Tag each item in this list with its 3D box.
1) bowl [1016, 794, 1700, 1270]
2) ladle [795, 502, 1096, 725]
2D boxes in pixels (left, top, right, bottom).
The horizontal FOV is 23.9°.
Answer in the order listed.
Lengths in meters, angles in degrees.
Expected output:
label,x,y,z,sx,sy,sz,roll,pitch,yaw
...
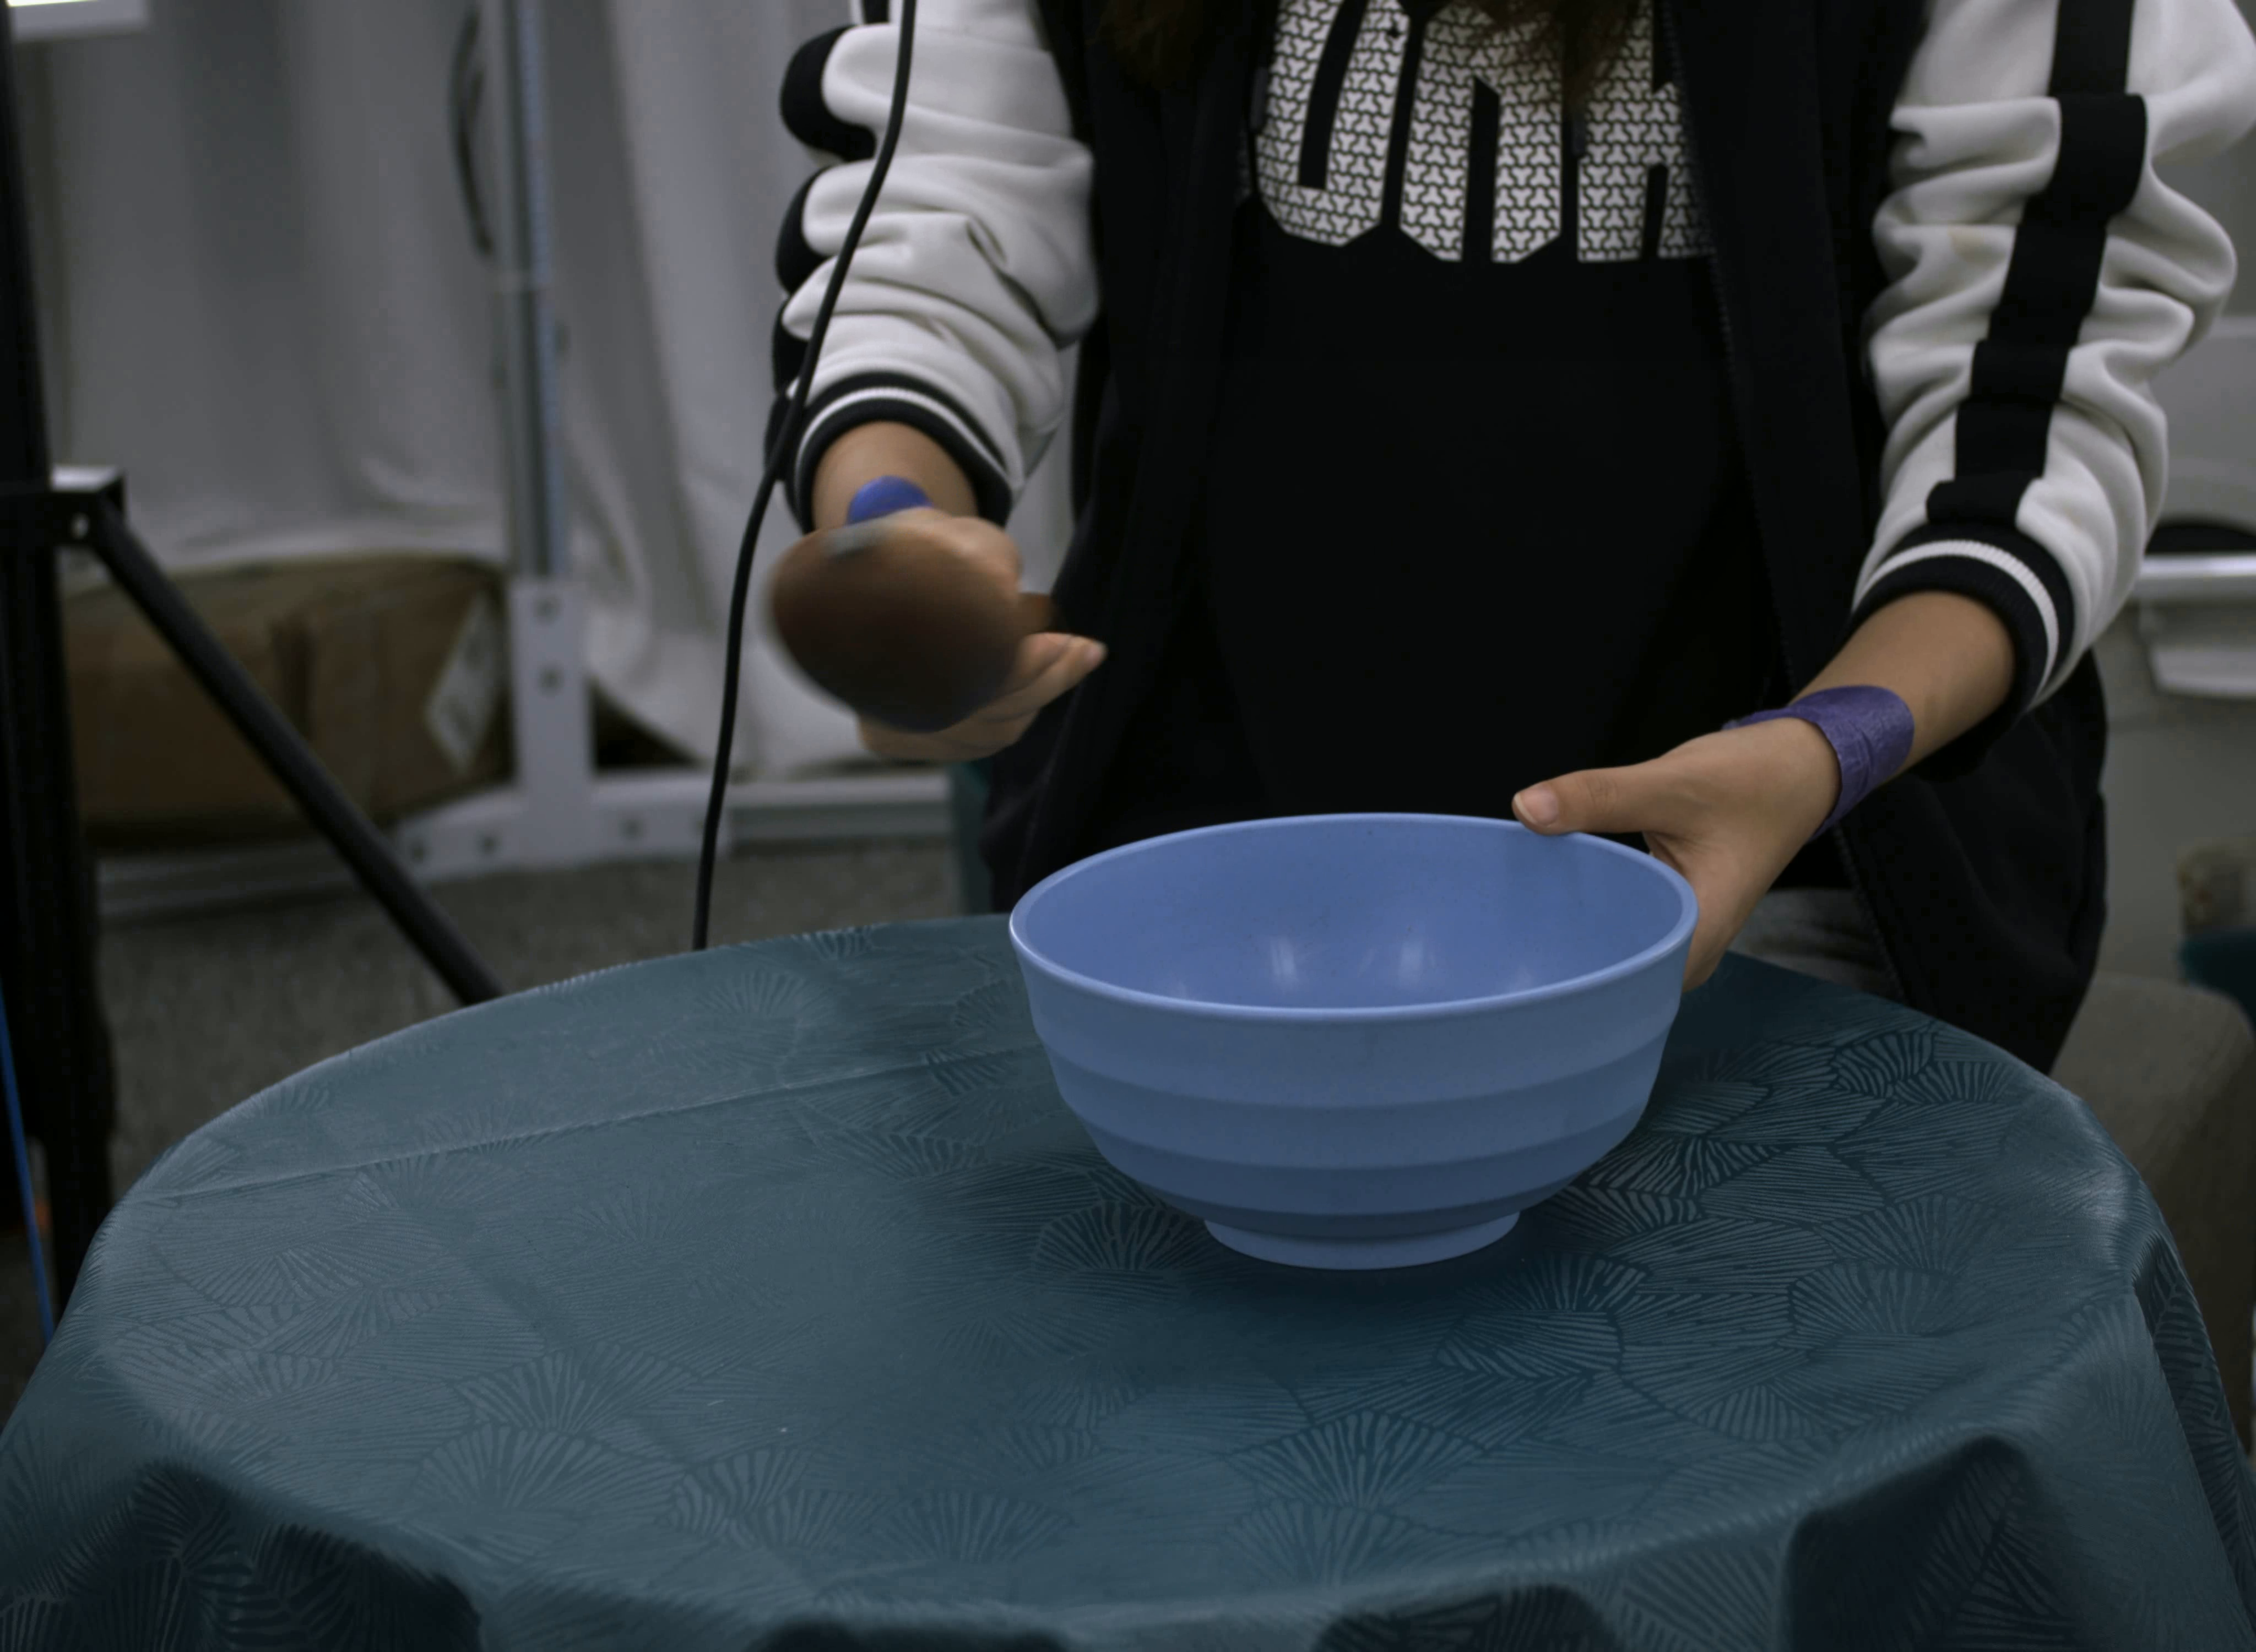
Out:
label,x,y,z,sx,sy,sz,roll,pitch,yaw
bowl,0.071,0.066,1.522,0.196,0.095,0.197,-8,17,1
ladle,-0.038,-0.069,1.580,0.077,0.065,0.258,15,9,9
